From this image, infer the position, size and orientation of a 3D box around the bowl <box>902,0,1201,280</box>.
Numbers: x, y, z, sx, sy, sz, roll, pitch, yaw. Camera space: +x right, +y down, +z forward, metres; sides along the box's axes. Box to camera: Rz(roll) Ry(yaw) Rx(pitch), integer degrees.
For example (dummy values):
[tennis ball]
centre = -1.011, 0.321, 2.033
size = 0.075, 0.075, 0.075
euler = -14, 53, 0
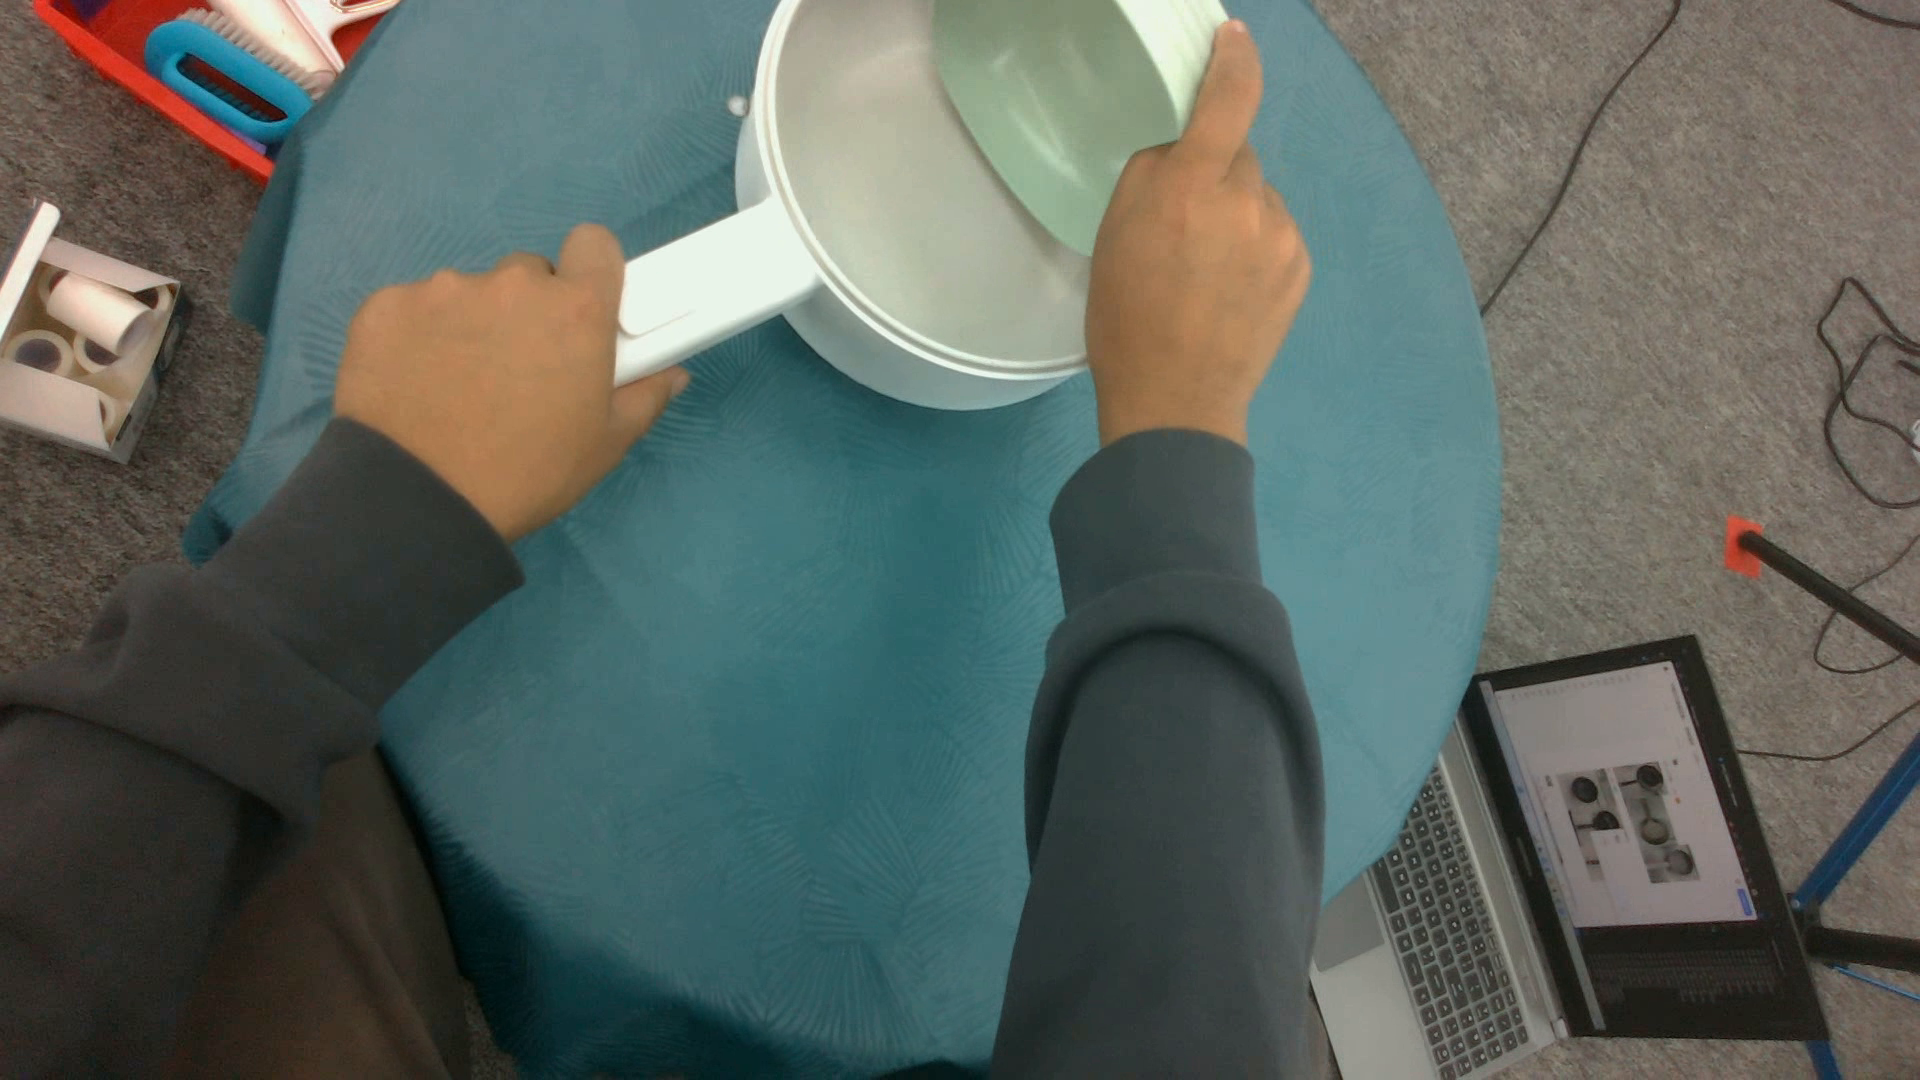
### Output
[bowl]
centre = 0.045, -0.187, 0.571
size = 0.059, 0.151, 0.151
euler = -37, 93, -22

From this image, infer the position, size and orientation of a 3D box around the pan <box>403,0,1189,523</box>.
[pan]
centre = -0.066, -0.110, 0.599
size = 0.356, 0.102, 0.201
euler = -34, 95, -20
